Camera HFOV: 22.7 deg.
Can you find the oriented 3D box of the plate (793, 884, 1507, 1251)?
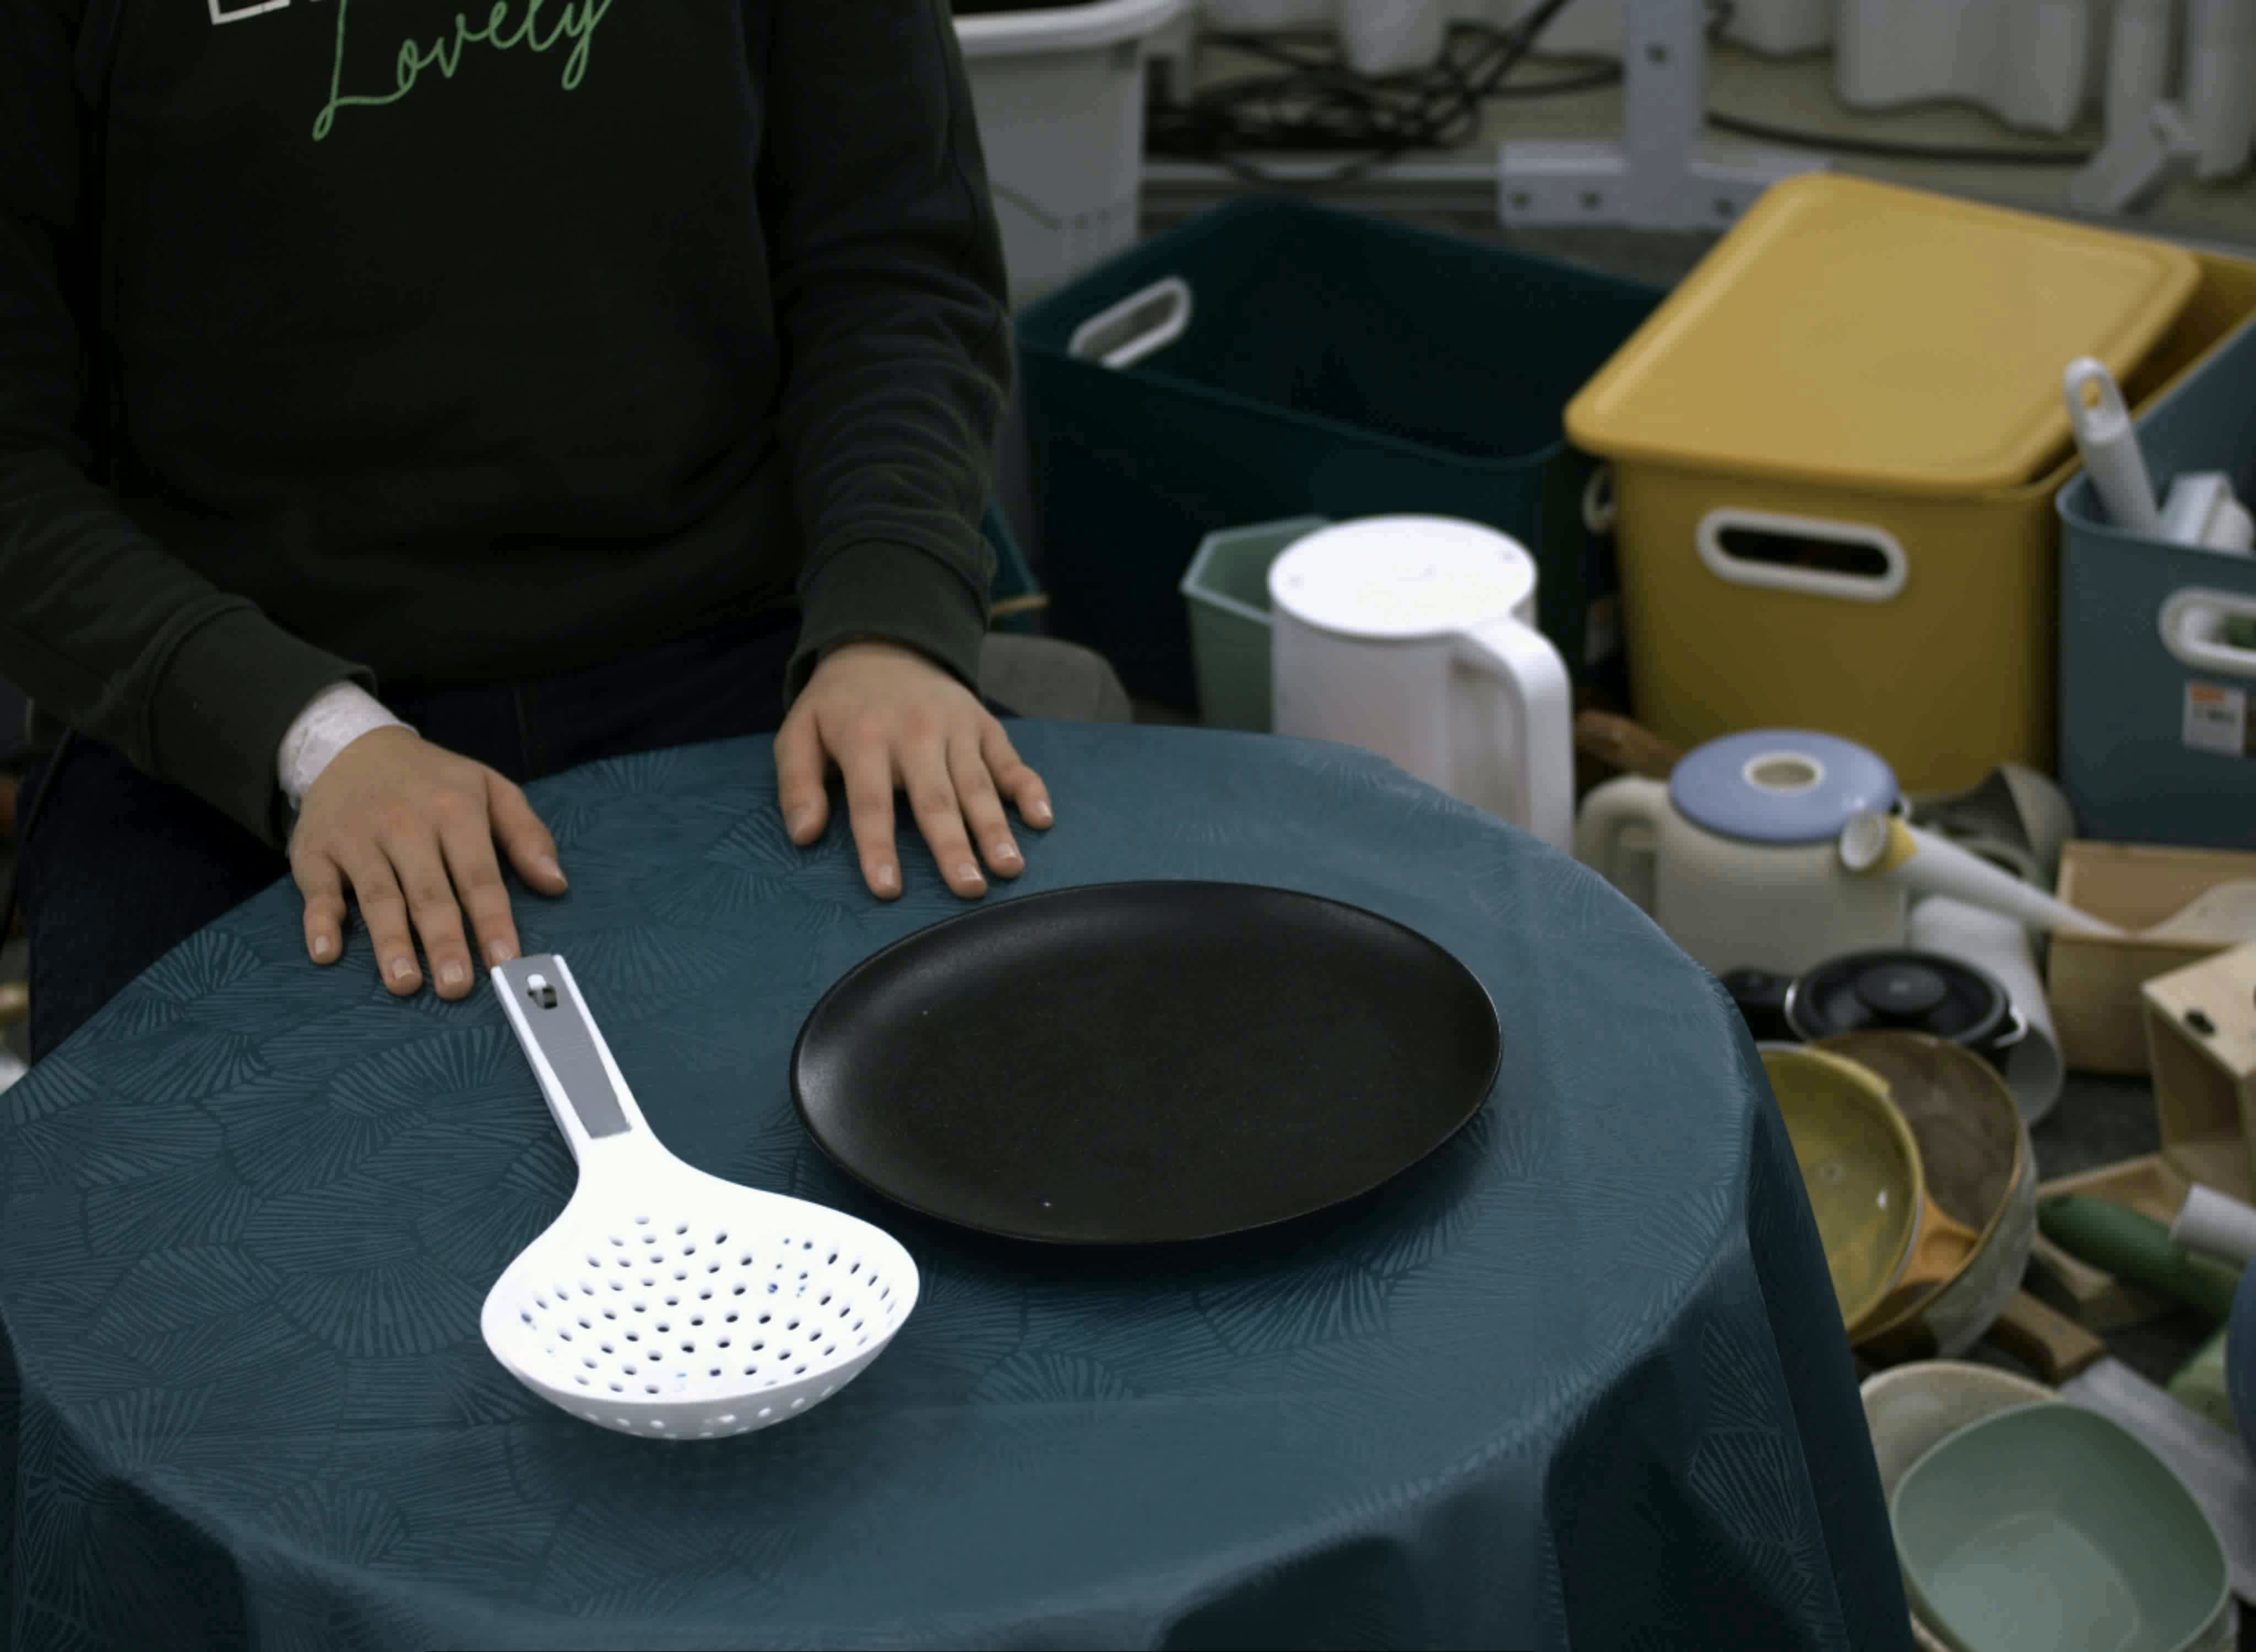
[{"bbox_3d":[0.007,0.086,1.905,0.243,0.023,0.248,-2,27,2],"label":"plate"}]

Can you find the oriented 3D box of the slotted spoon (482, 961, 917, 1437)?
[{"bbox_3d":[-0.163,0.116,1.840,0.136,0.045,0.353,-8,27,-14],"label":"slotted spoon"}]
